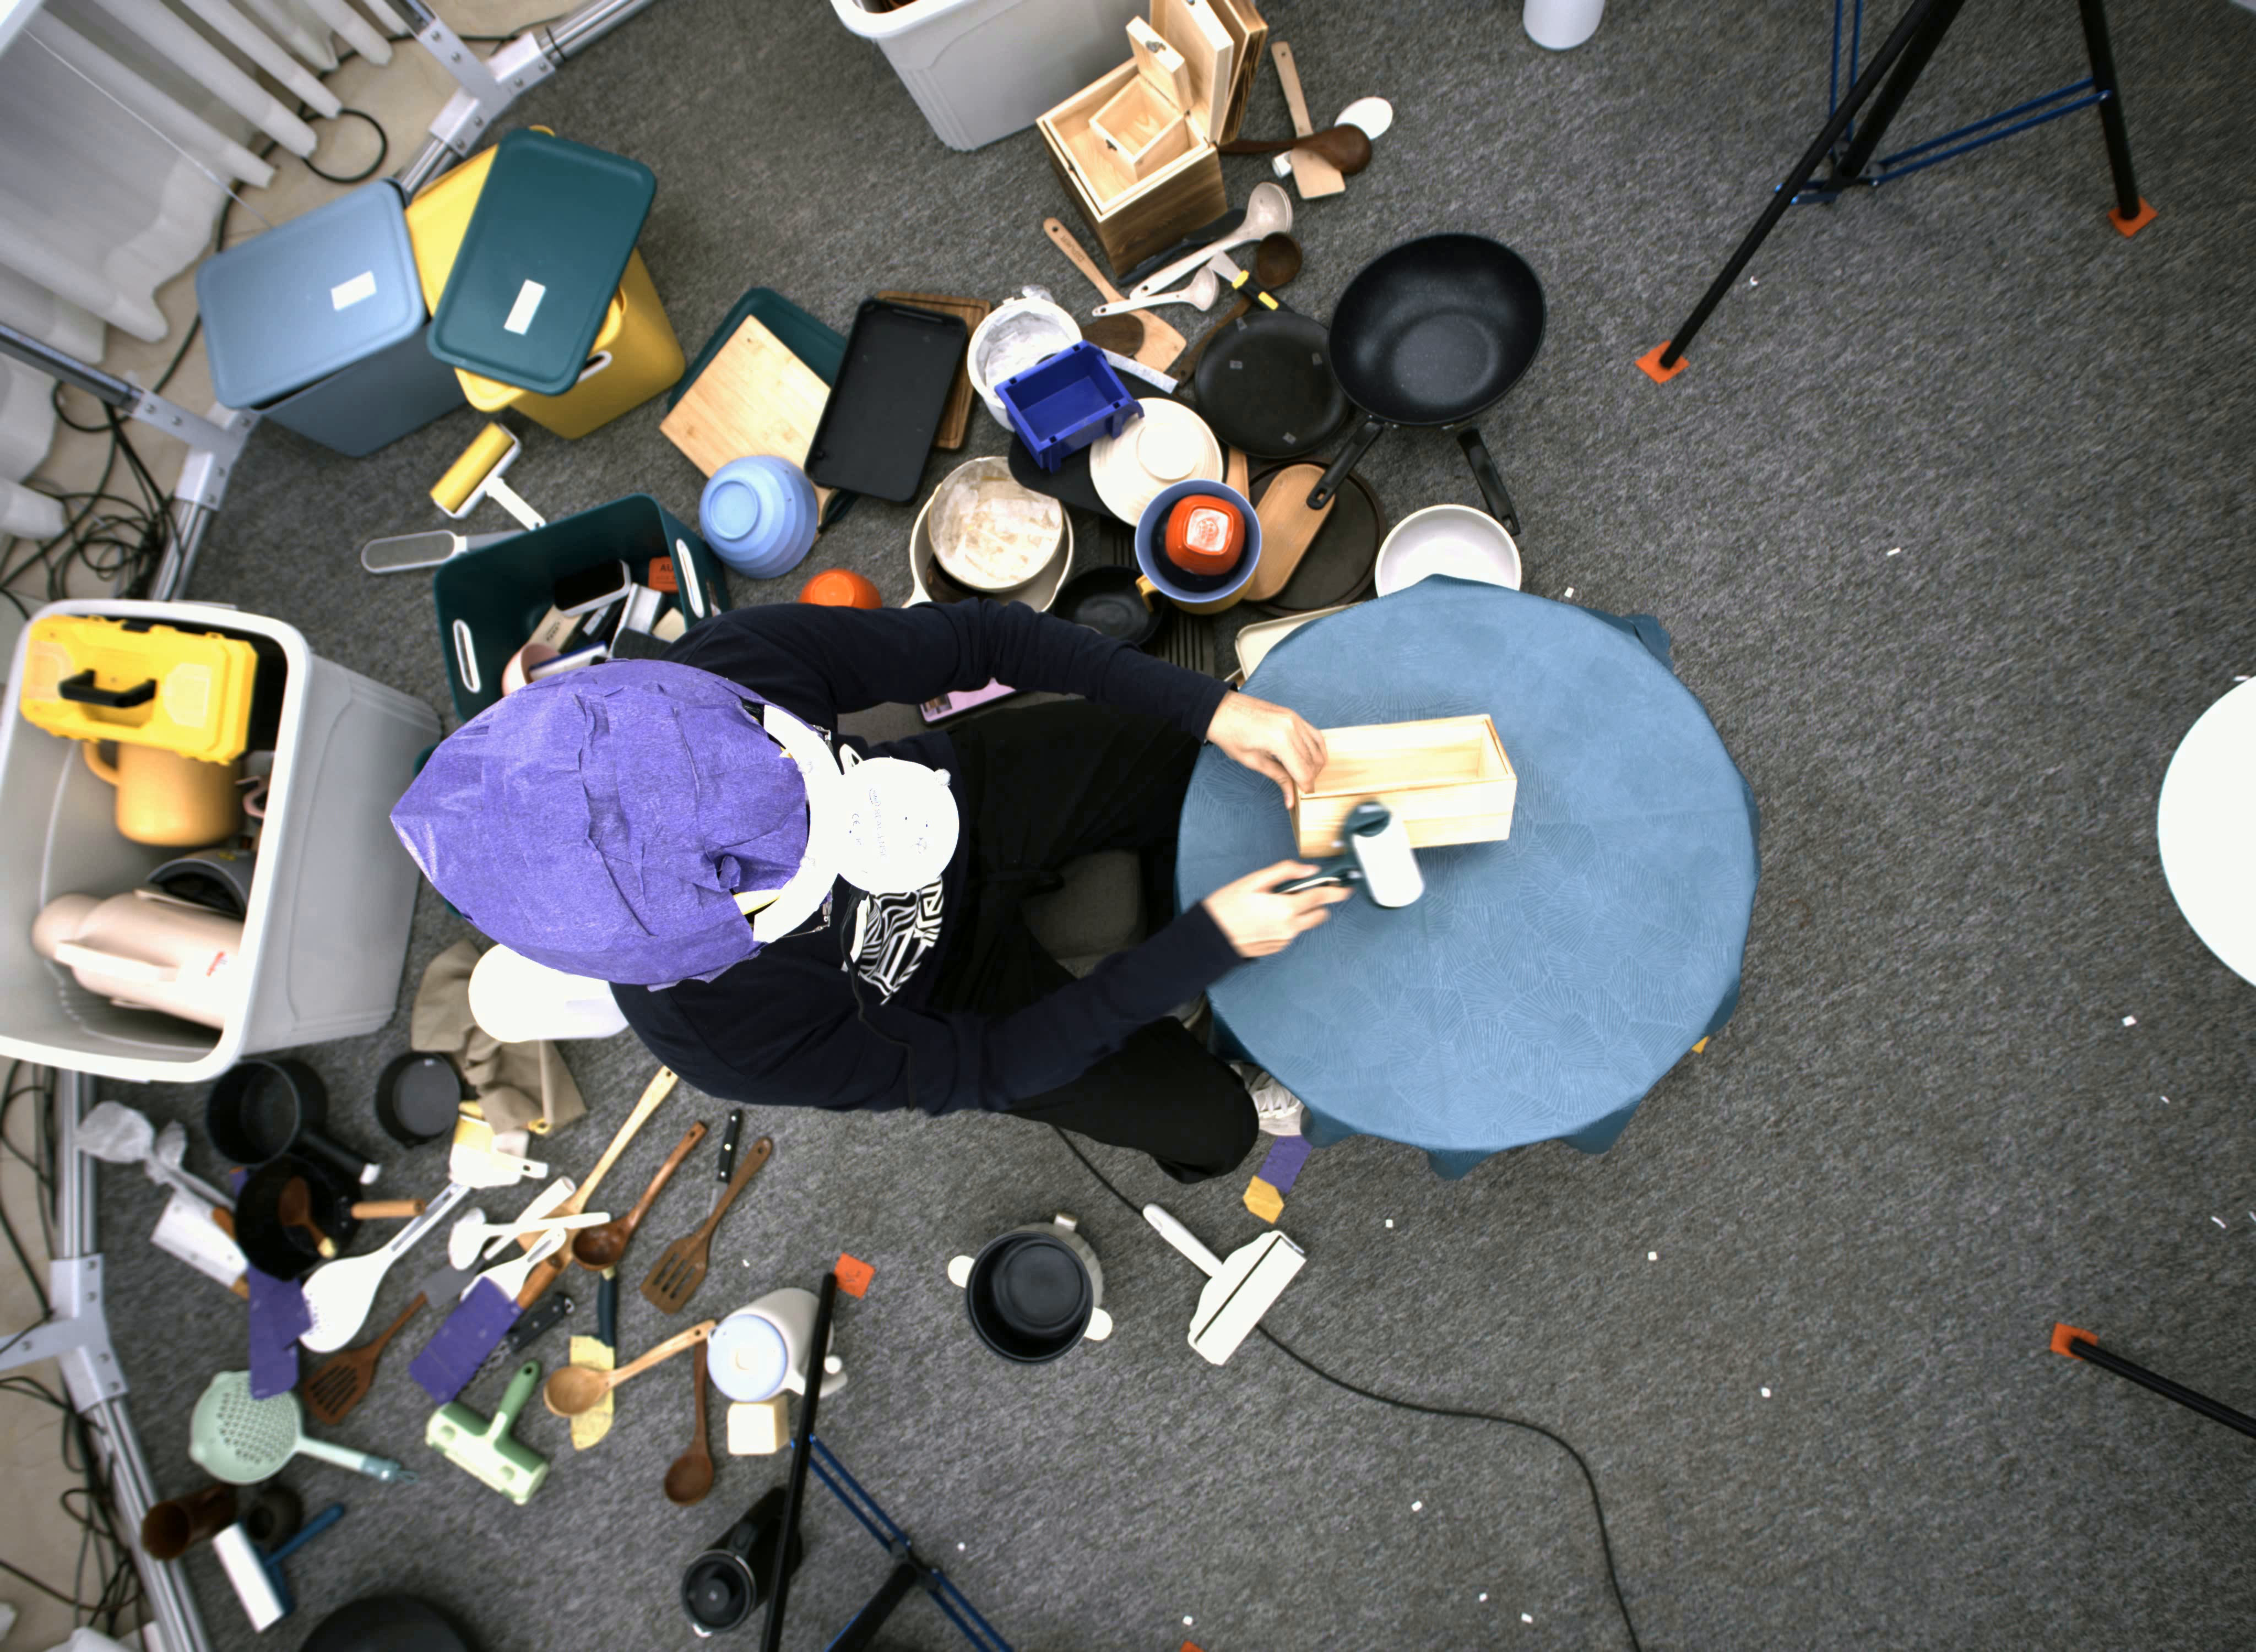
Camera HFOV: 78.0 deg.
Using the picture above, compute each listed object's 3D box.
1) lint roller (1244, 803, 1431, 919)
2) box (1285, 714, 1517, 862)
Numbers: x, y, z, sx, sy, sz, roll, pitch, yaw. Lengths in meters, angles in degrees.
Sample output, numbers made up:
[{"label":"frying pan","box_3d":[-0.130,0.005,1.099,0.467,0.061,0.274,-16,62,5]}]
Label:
[{"label":"lint roller","box_3d":[0.202,0.058,1.355,0.181,0.137,0.047,-26,40,5]},{"label":"box","box_3d":[0.270,-0.041,1.386,0.212,0.082,0.105,-7,43,2]}]
